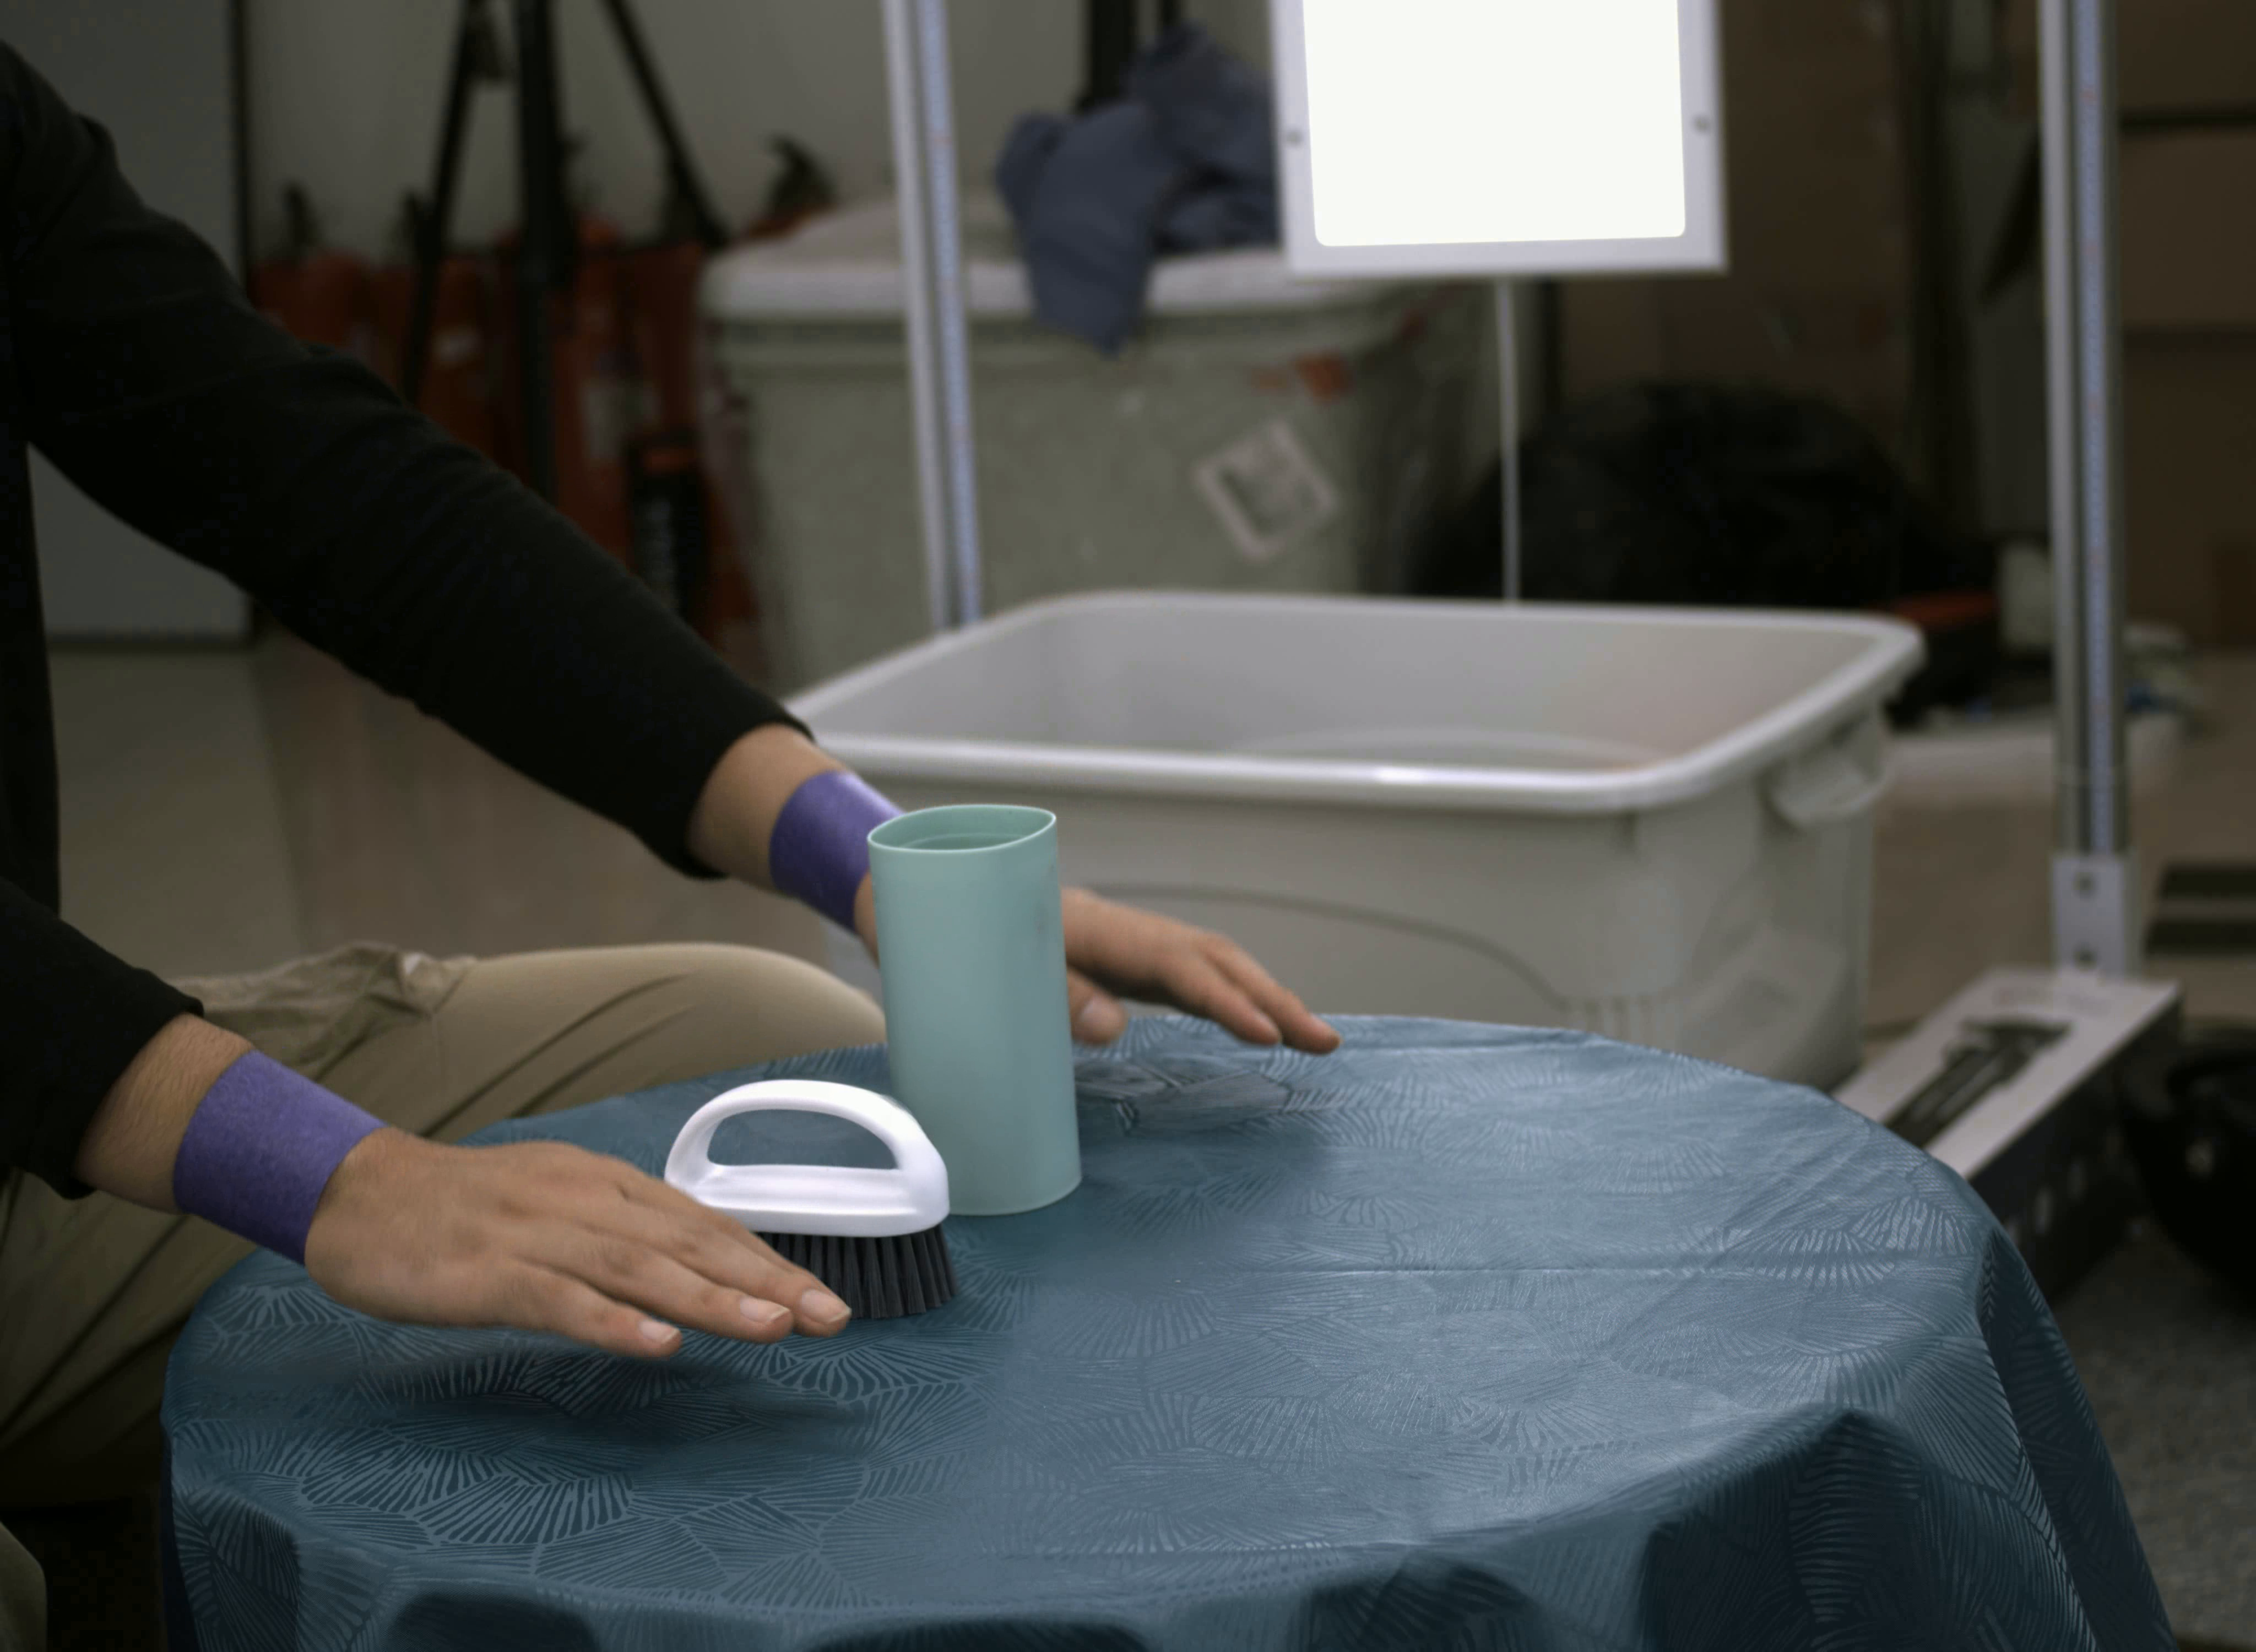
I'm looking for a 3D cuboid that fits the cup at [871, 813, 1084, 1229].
[{"bbox_3d":[-0.052,0.067,1.900,0.066,0.133,0.066,-4,14,0],"label":"cup"}]

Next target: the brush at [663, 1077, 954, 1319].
[{"bbox_3d":[-0.107,0.119,1.812,0.101,0.073,0.049,3,15,26],"label":"brush"}]
